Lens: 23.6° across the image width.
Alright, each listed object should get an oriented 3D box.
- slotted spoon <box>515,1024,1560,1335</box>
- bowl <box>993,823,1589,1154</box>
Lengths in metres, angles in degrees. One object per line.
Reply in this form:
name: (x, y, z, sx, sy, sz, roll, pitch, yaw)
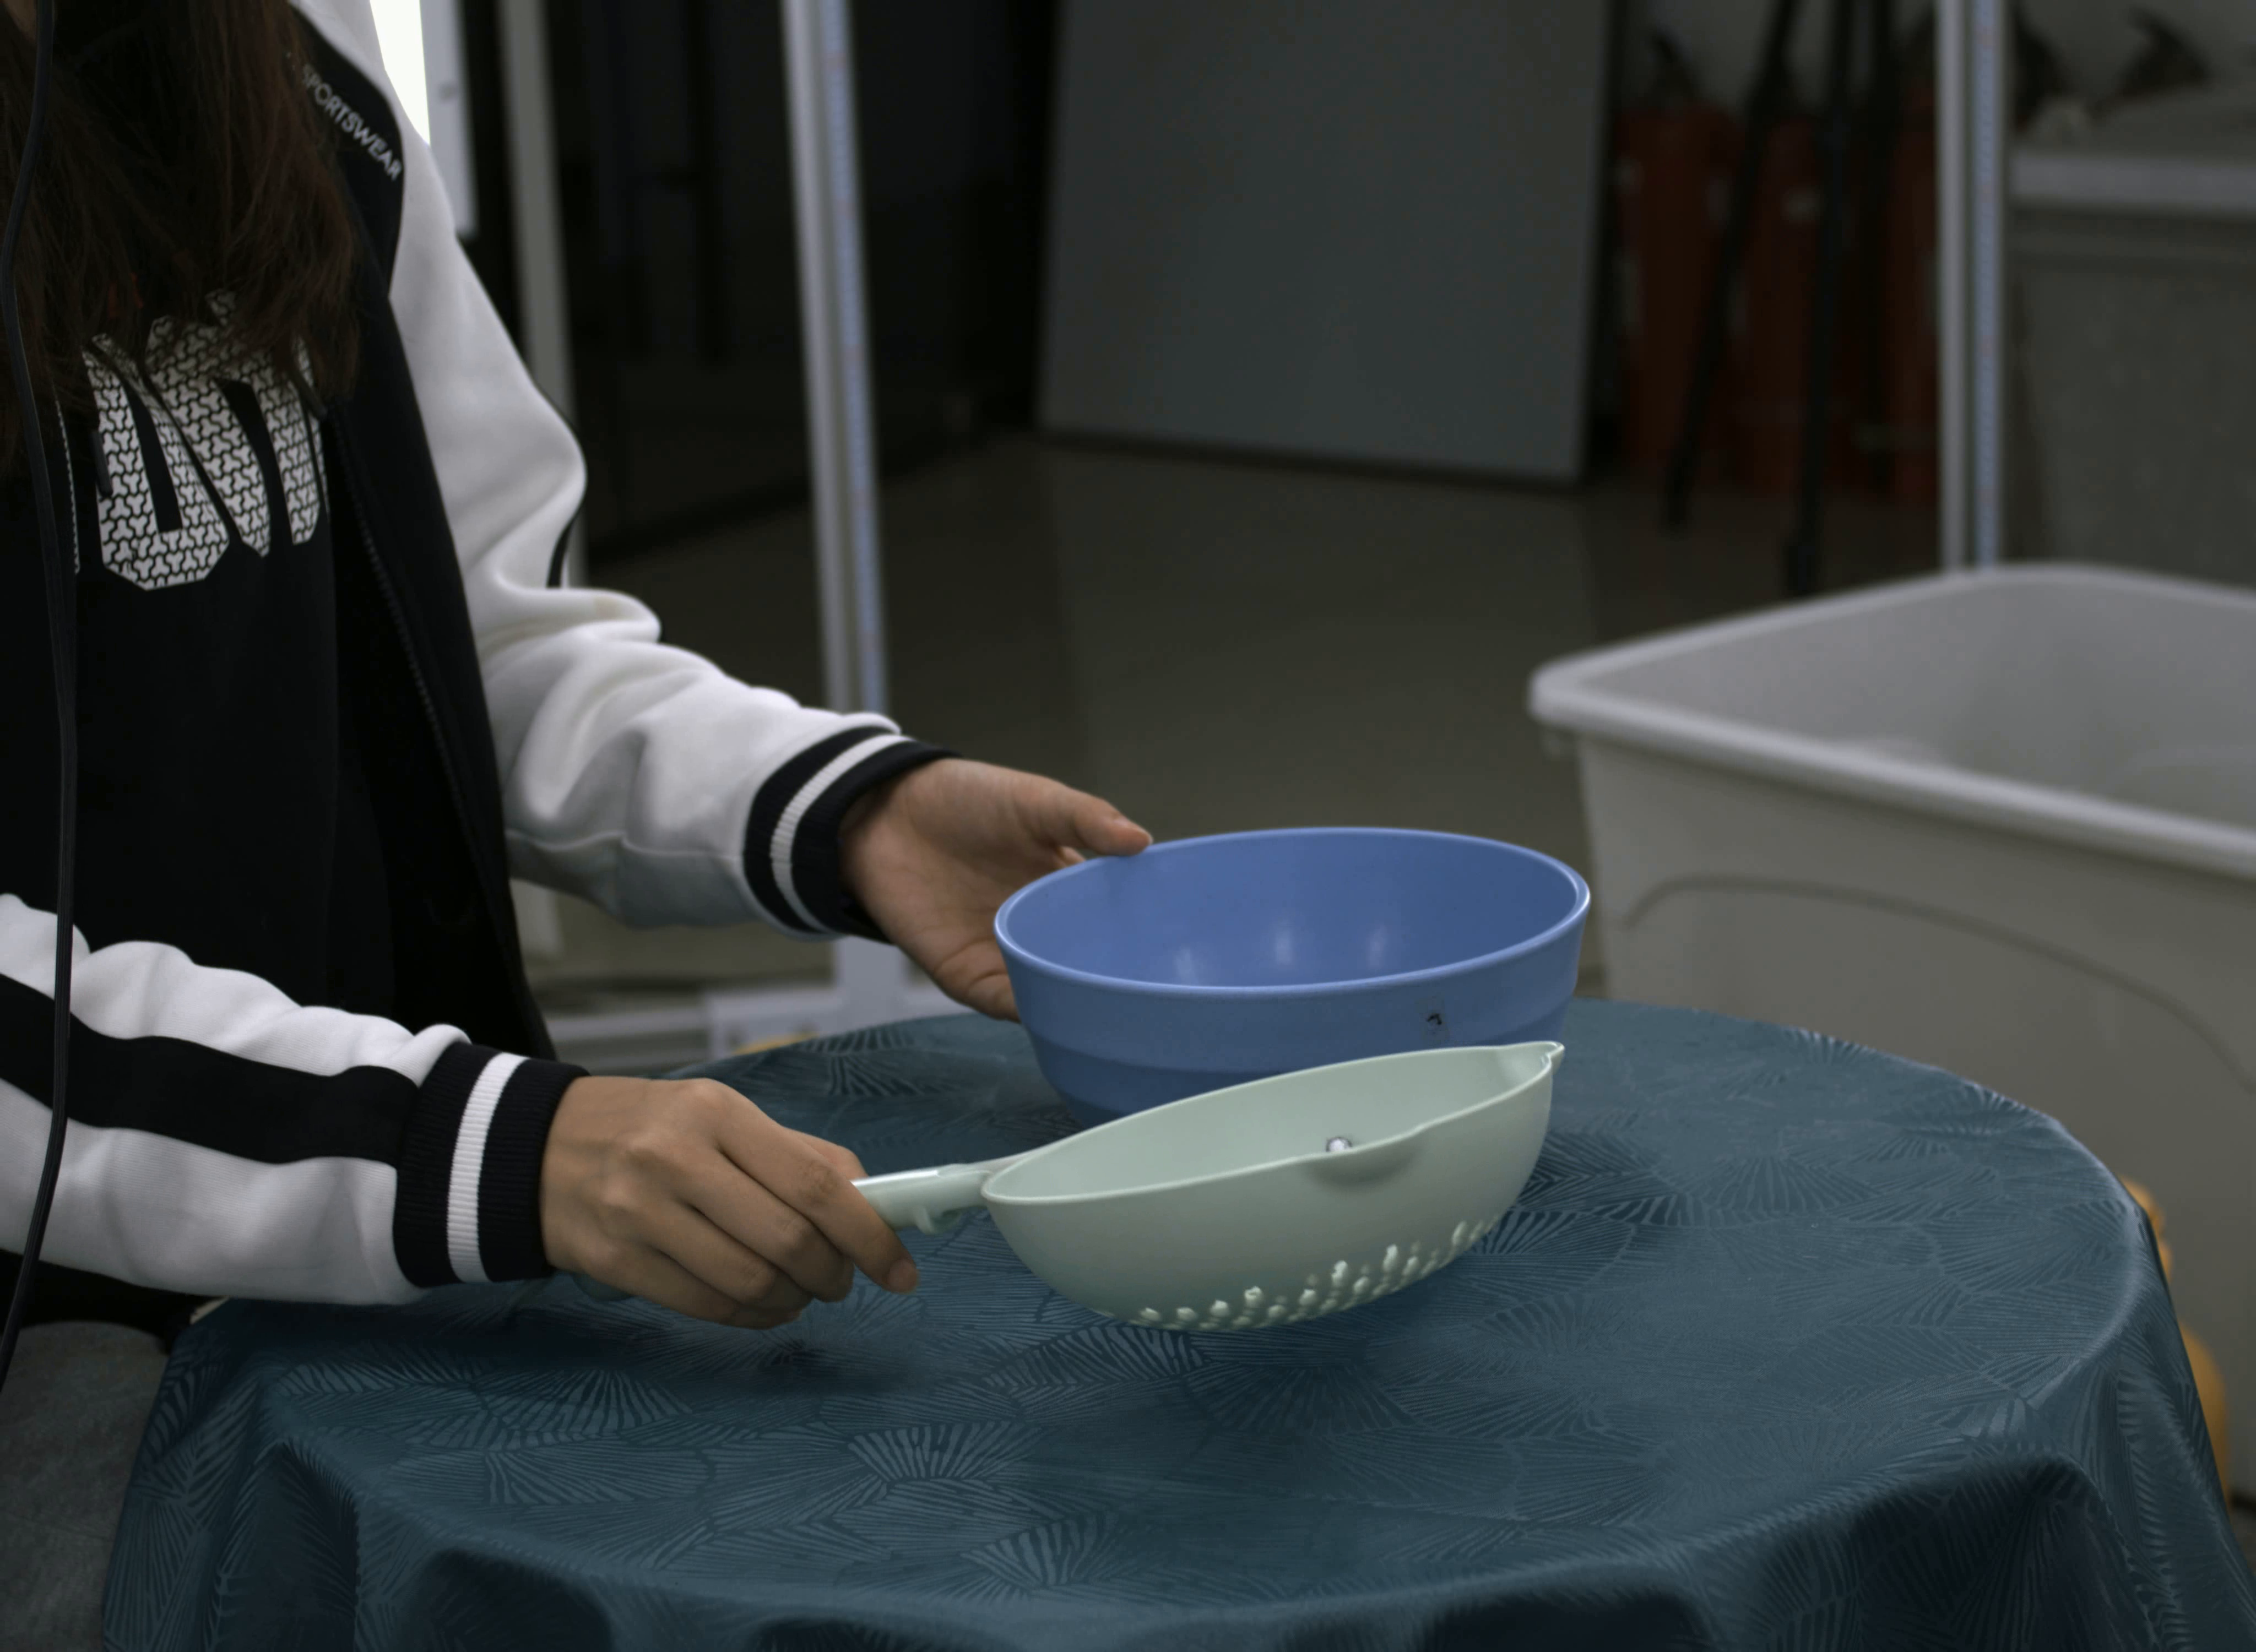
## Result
slotted spoon: (-0.040, 0.113, 1.599, 0.360, 0.076, 0.167, -3, 8, 30)
bowl: (0.056, 0.070, 1.762, 0.194, 0.096, 0.197, -5, 14, 0)
